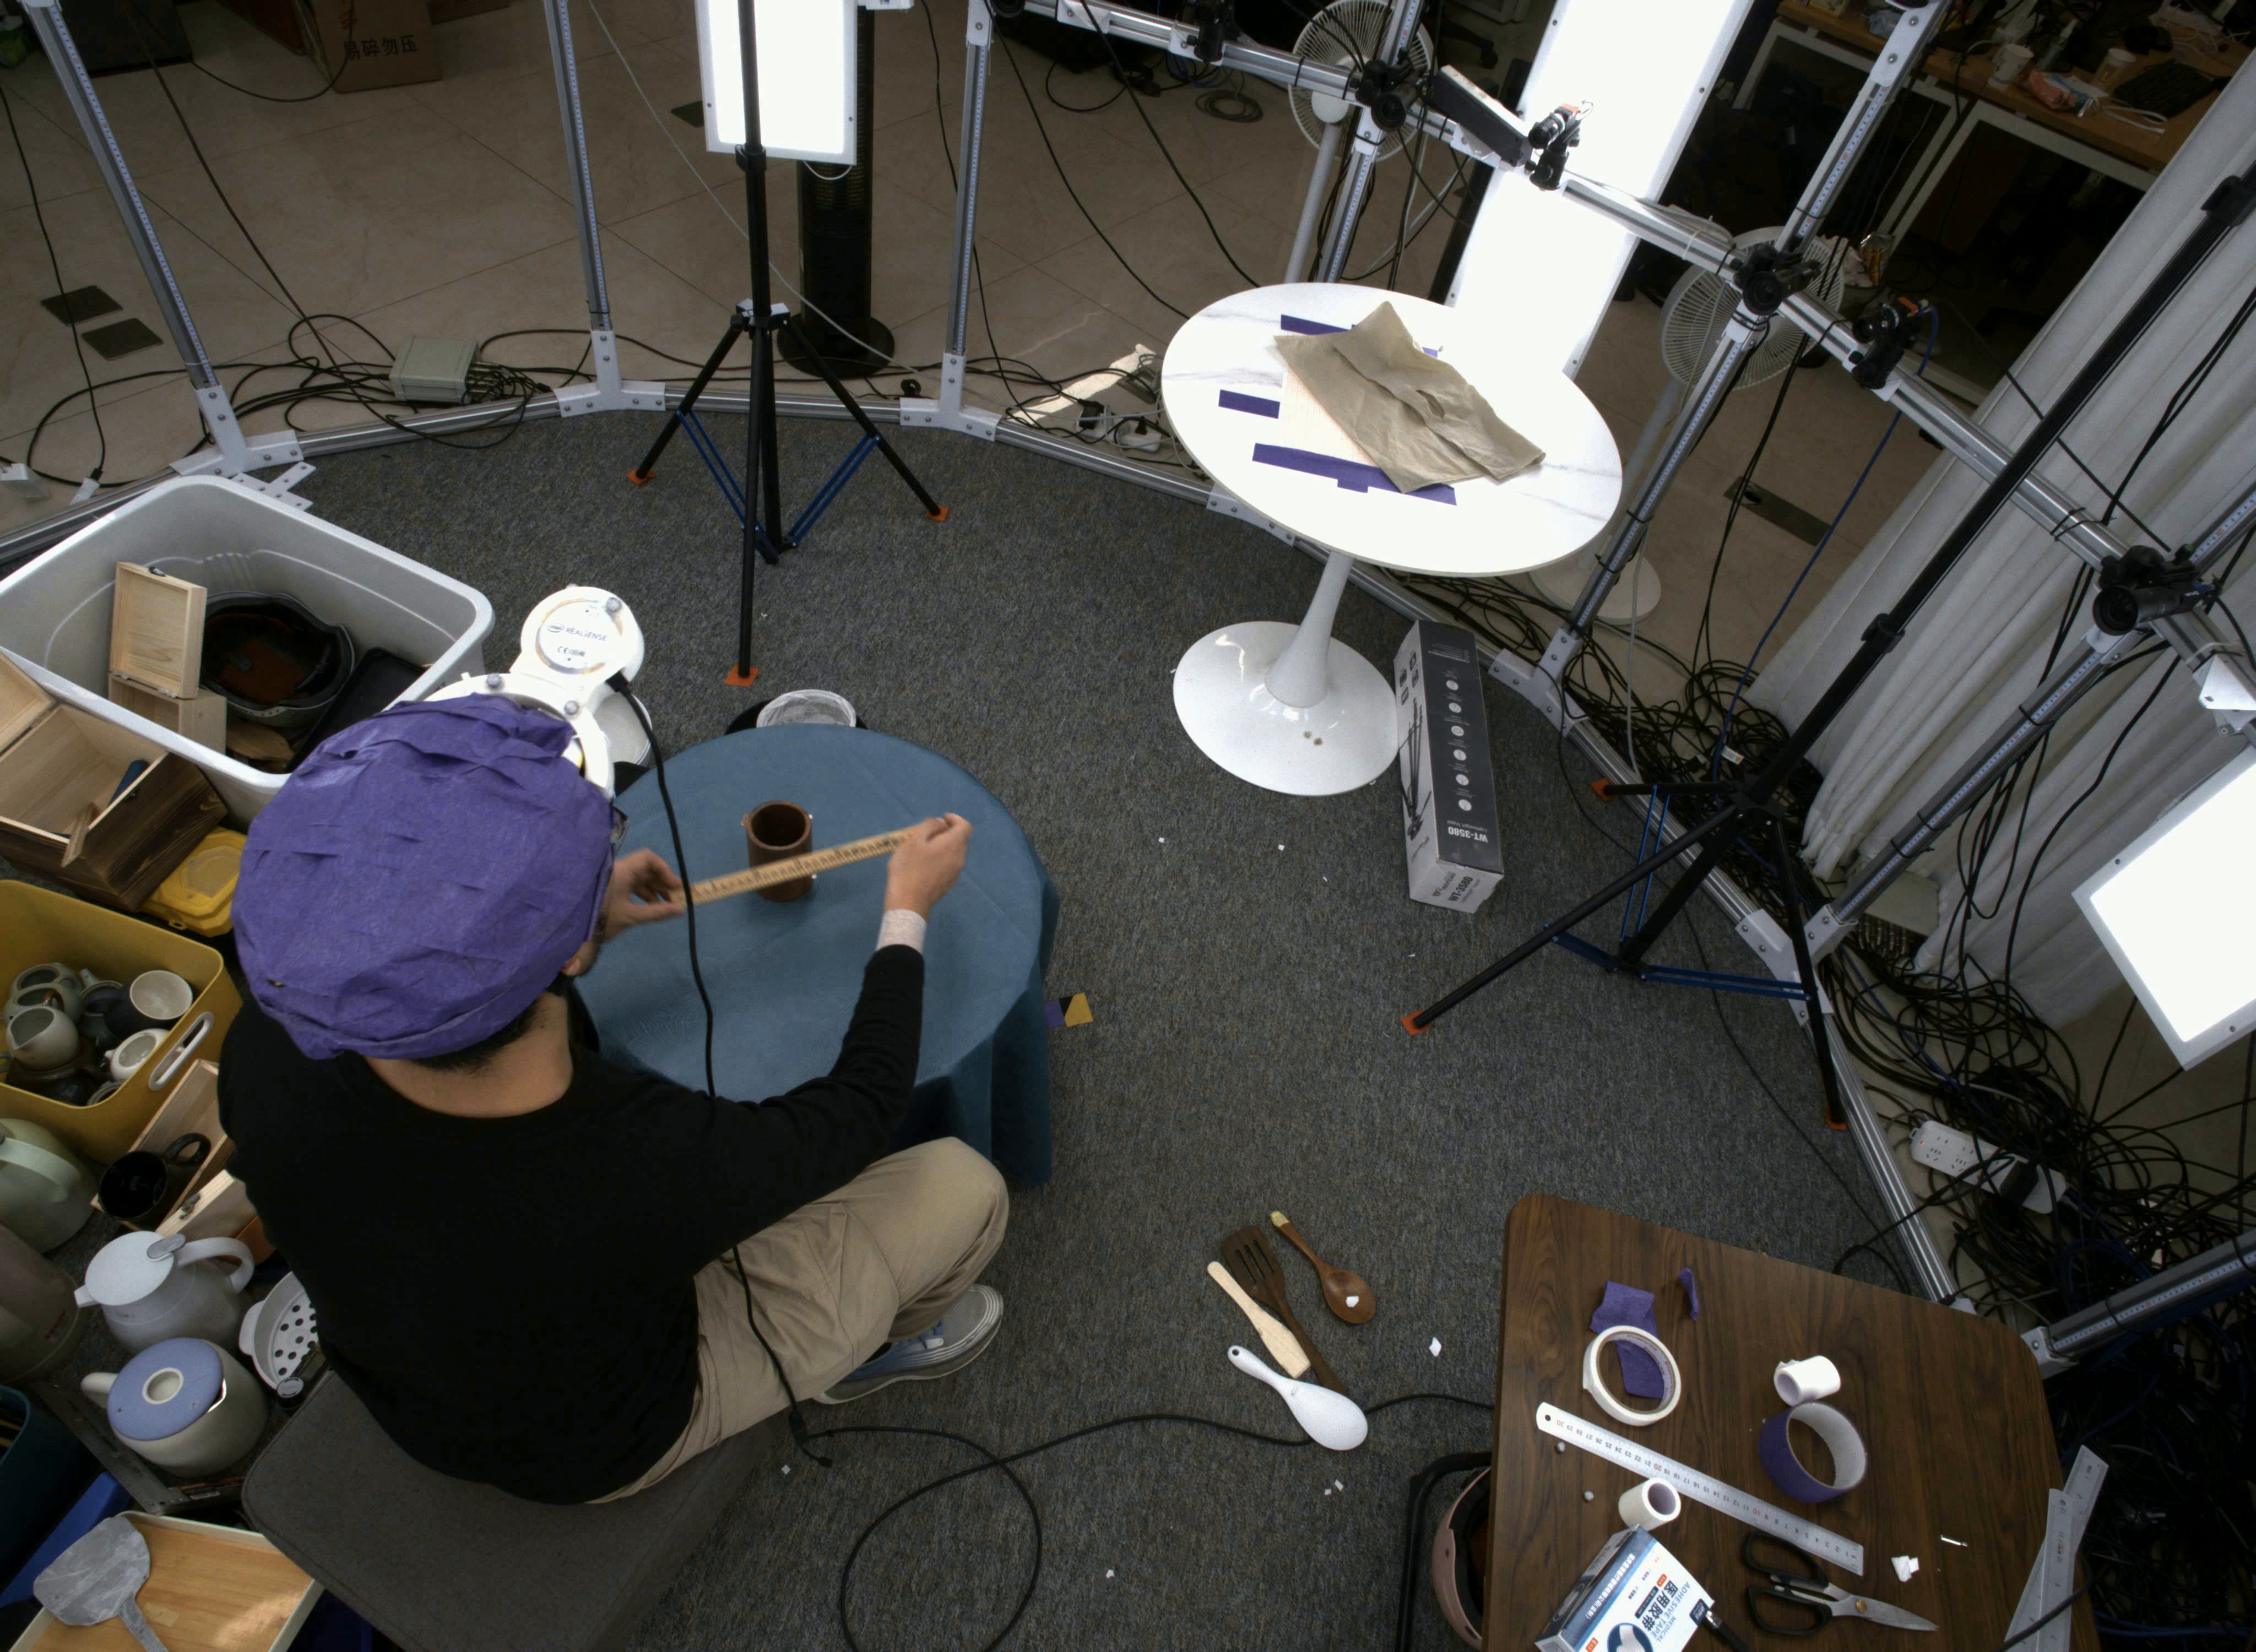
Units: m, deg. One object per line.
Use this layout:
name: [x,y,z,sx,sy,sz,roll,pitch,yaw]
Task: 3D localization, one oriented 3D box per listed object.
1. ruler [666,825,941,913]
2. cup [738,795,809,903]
ruler: [-0.379,0.045,1.537,0.334,0.022,0.027,-15,60,-26]
cup: [-0.440,0.028,1.618,0.087,0.121,0.086,6,51,-6]
